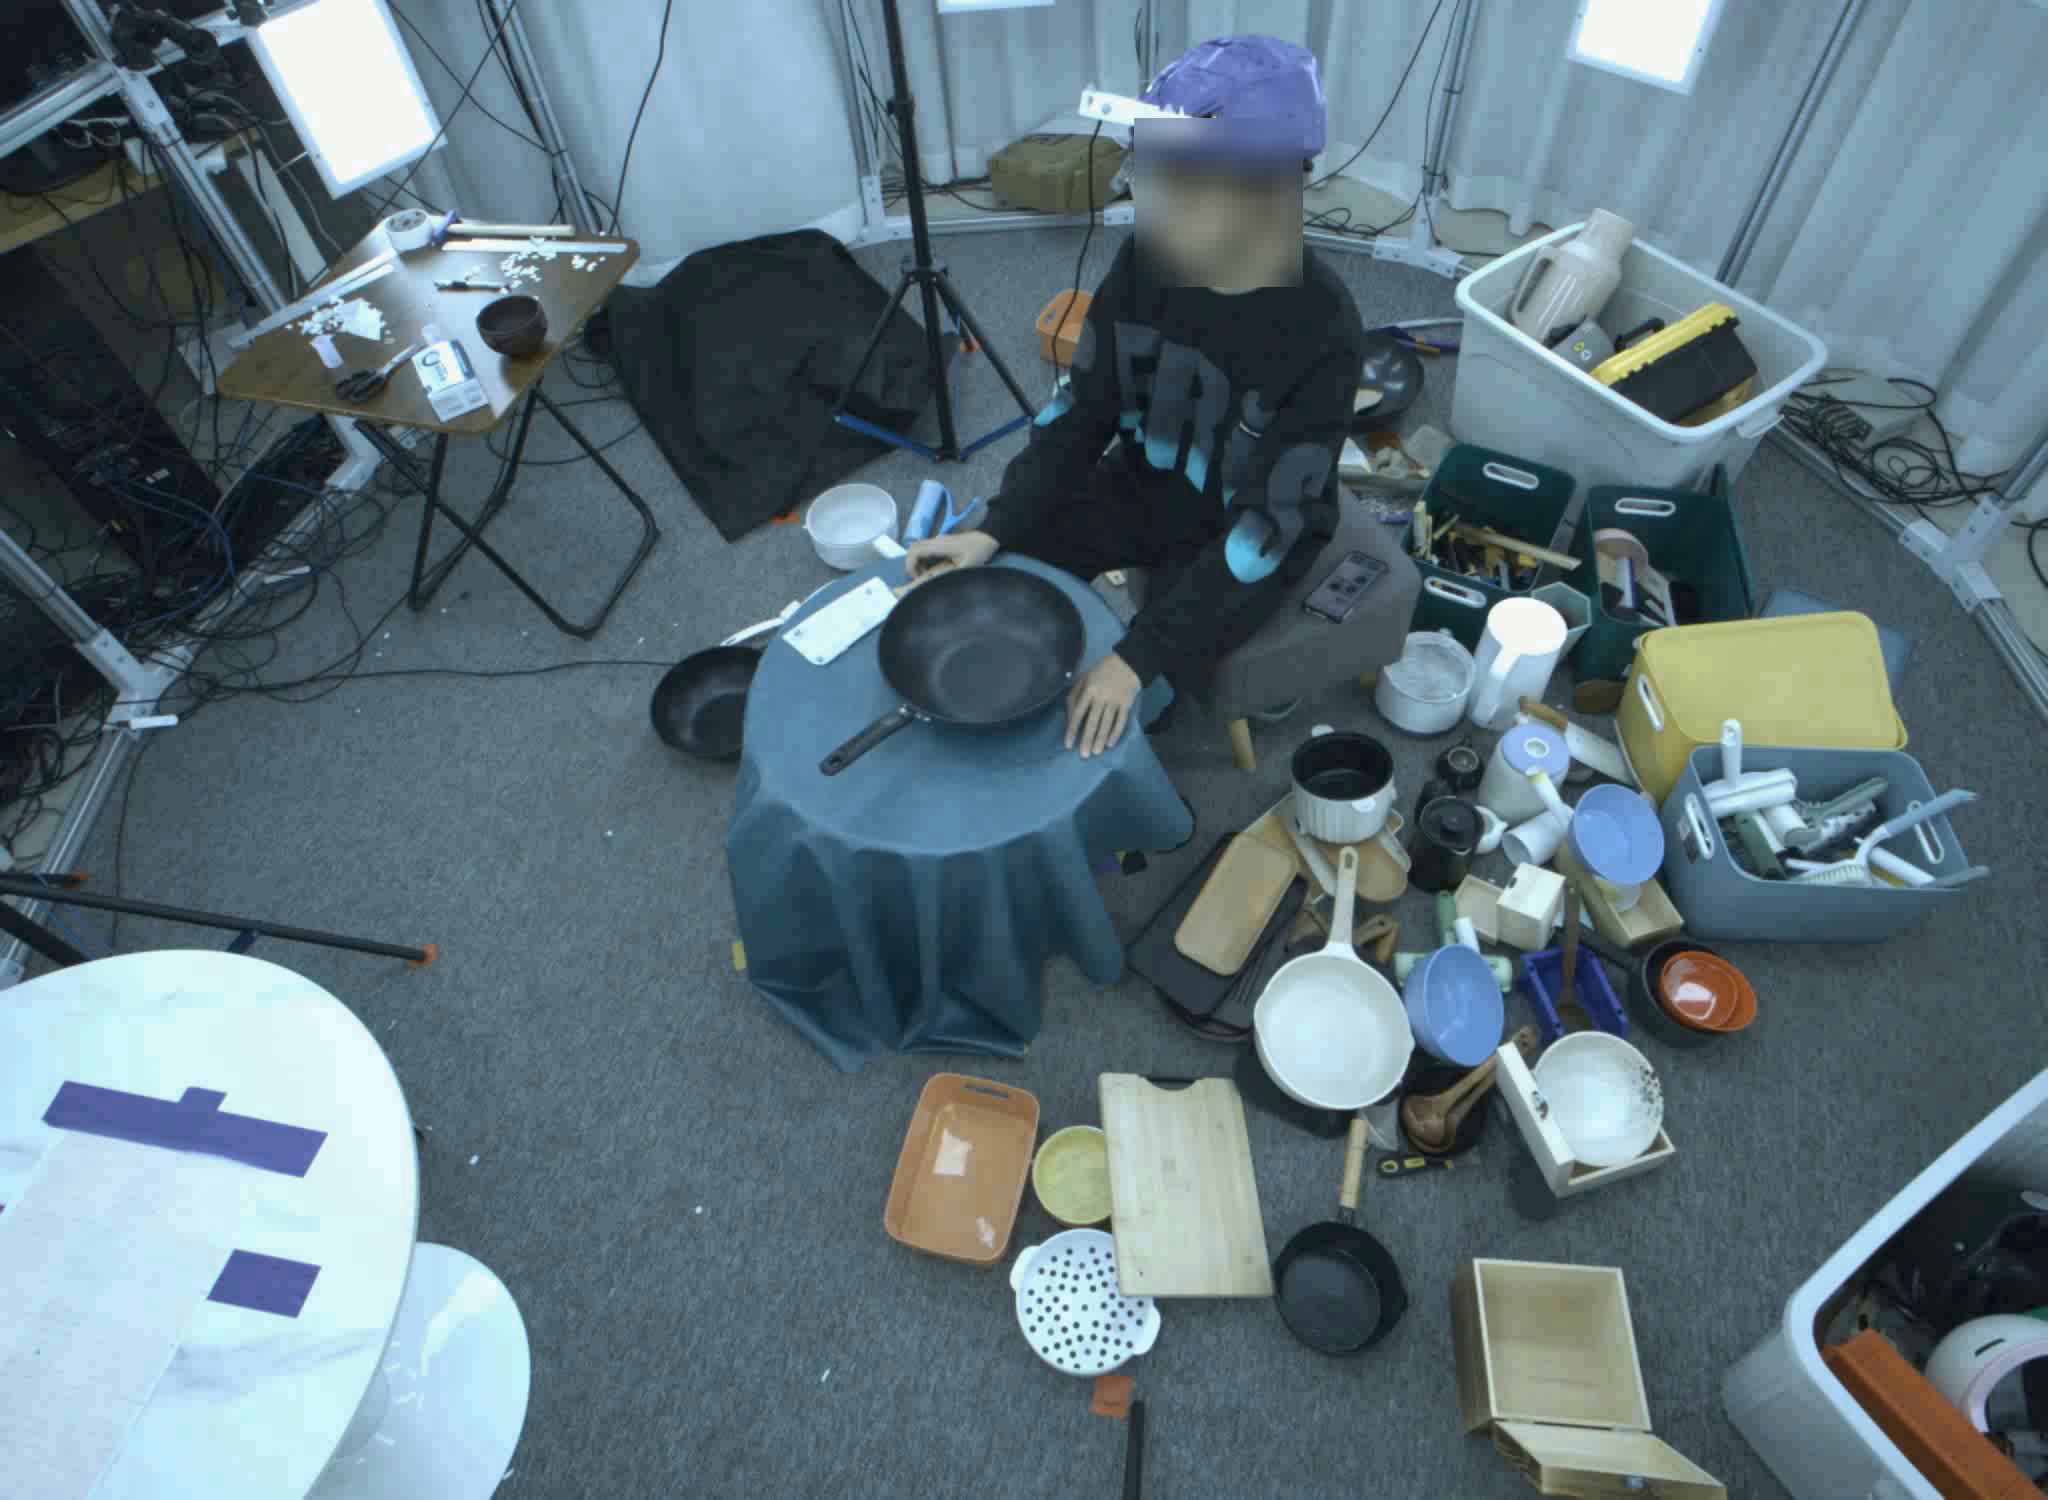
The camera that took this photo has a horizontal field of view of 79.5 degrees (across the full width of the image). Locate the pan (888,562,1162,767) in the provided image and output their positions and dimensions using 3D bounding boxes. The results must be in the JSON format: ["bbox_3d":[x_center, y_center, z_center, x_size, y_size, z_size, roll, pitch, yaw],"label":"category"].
[{"bbox_3d":[-0.009,-0.098,1.792,0.304,0.113,0.480,36,63,26],"label":"pan"}]

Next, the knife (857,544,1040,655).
[{"bbox_3d":[-0.113,-0.246,1.954,0.317,0.022,0.112,-29,58,-15],"label":"knife"}]
